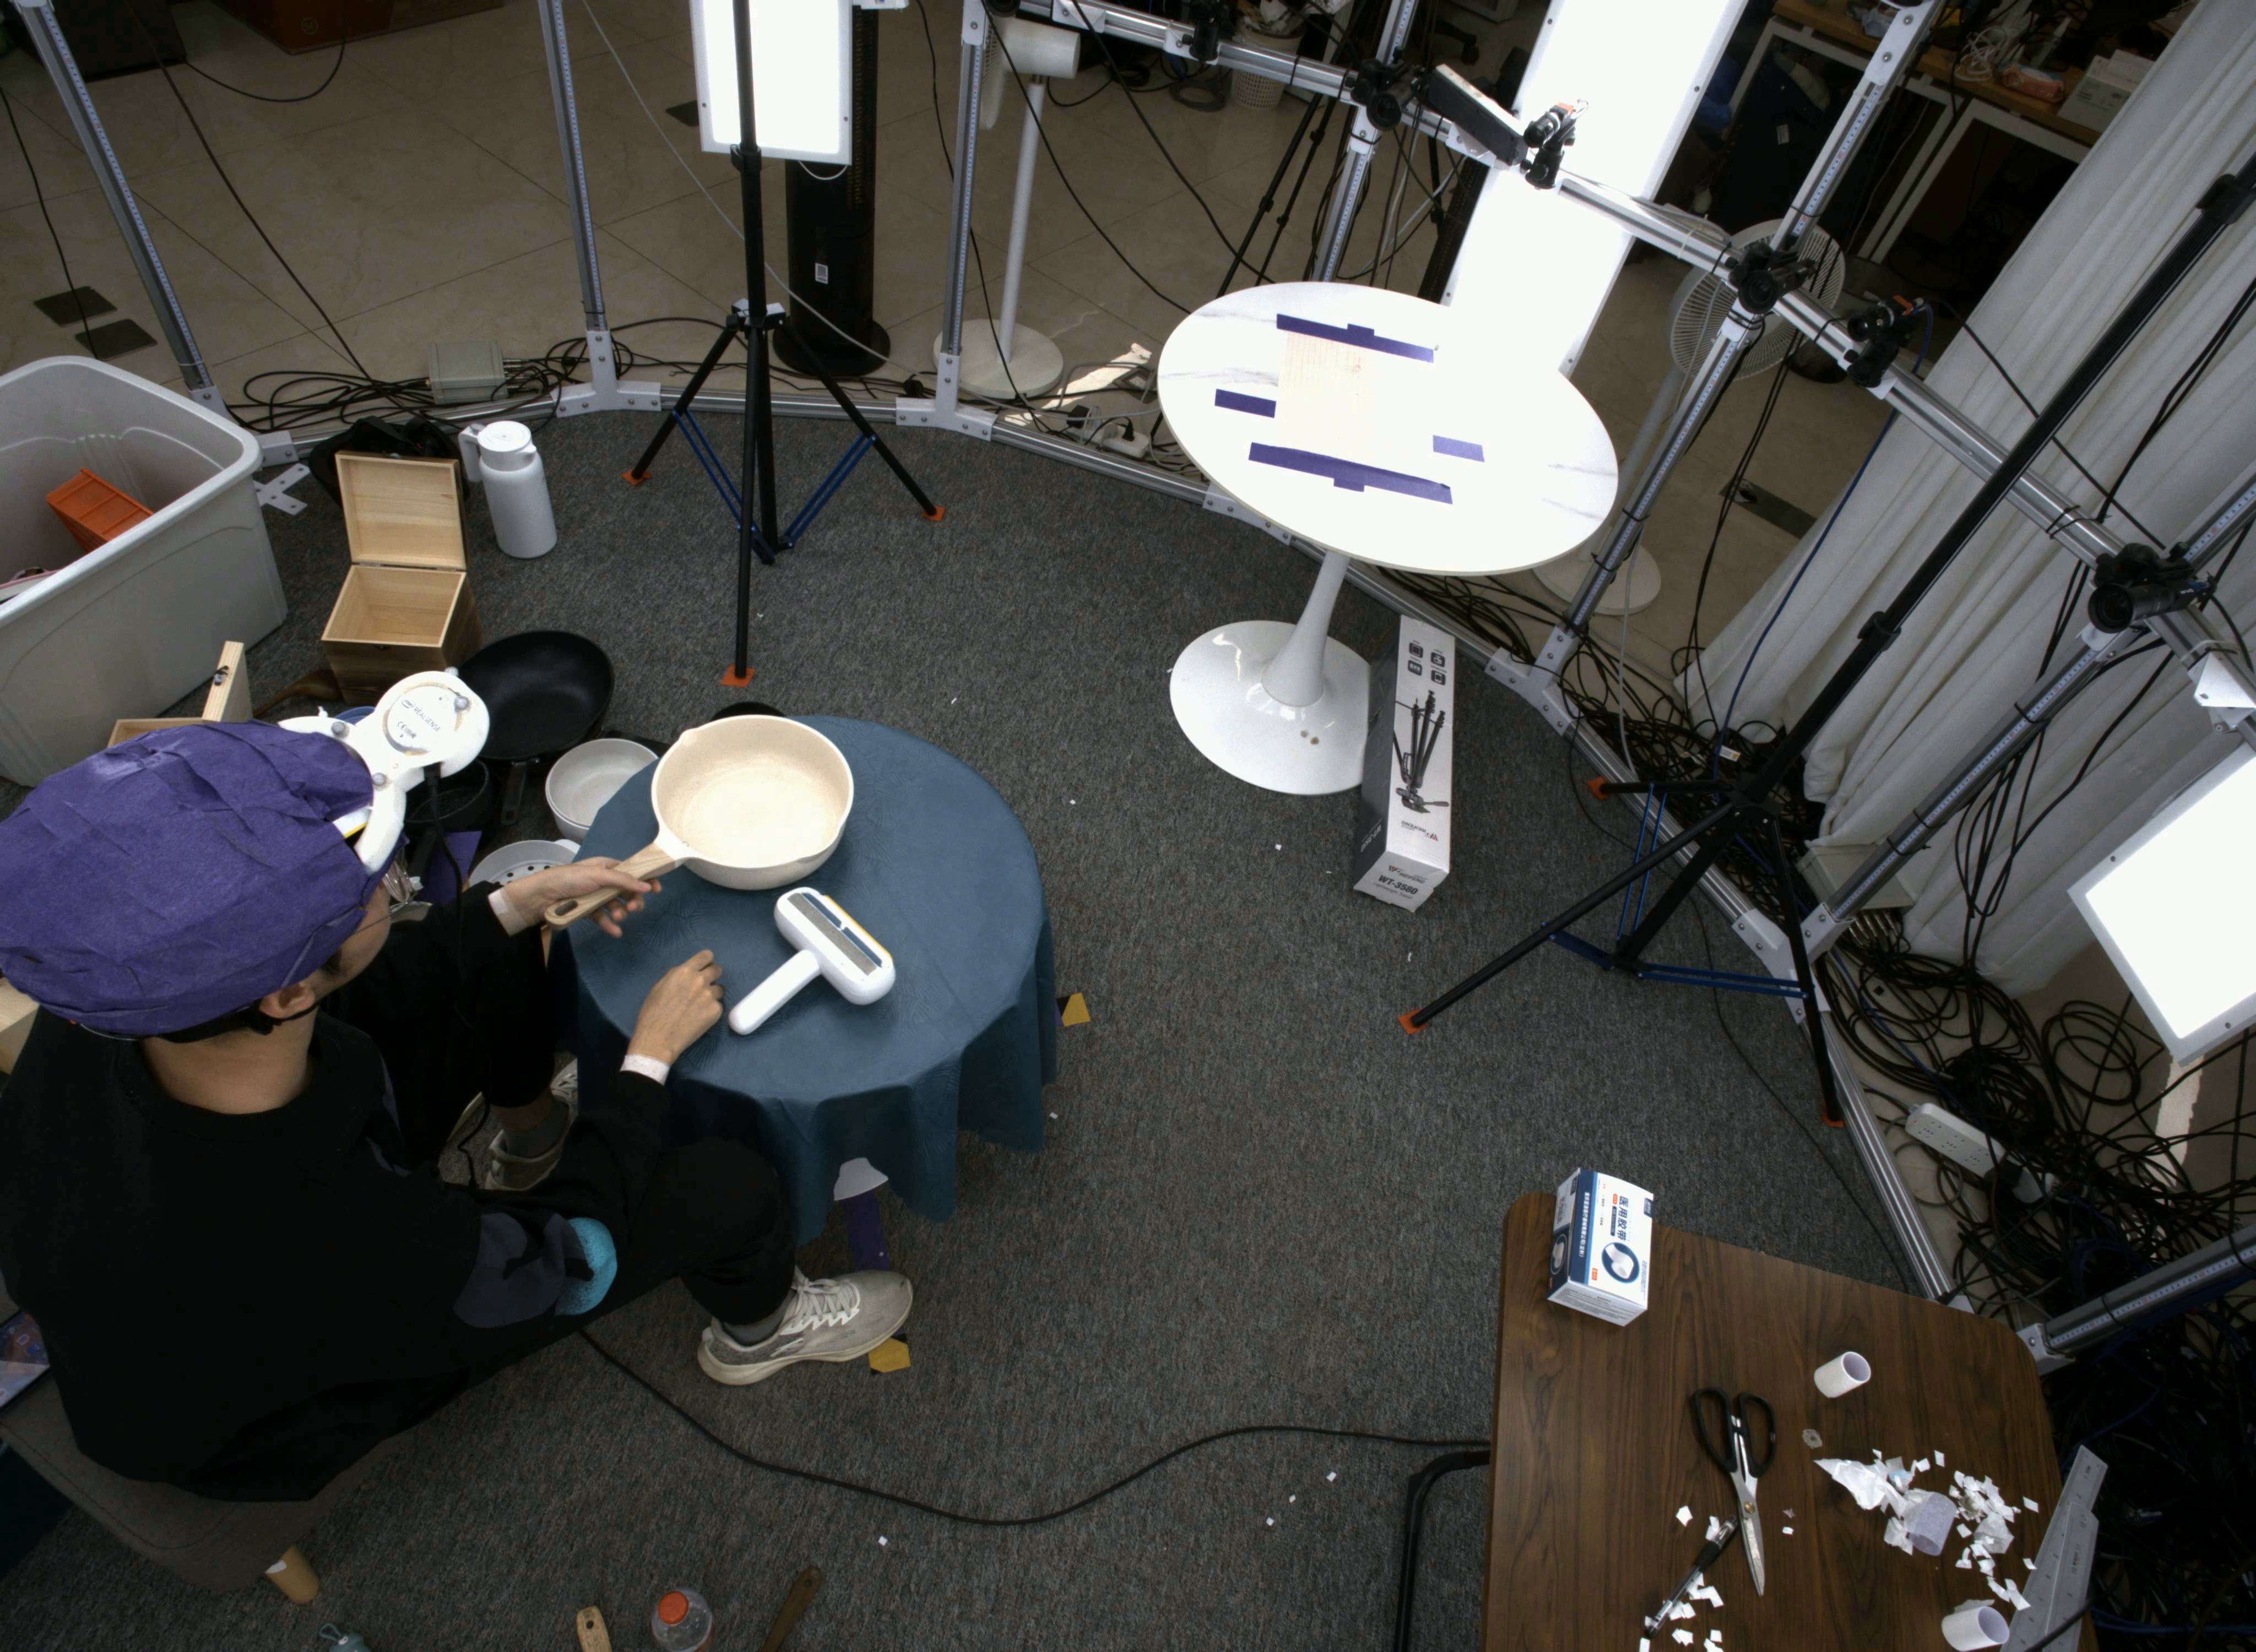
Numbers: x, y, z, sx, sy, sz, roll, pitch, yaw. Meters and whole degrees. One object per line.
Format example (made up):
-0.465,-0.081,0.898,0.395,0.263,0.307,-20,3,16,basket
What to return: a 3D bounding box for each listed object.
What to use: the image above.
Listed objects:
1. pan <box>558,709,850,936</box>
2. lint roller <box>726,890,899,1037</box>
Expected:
-0.542,0.018,1.621,0.259,0.103,0.435,39,54,12,pan
-0.398,0.179,1.560,0.193,0.076,0.187,-31,61,-30,lint roller
